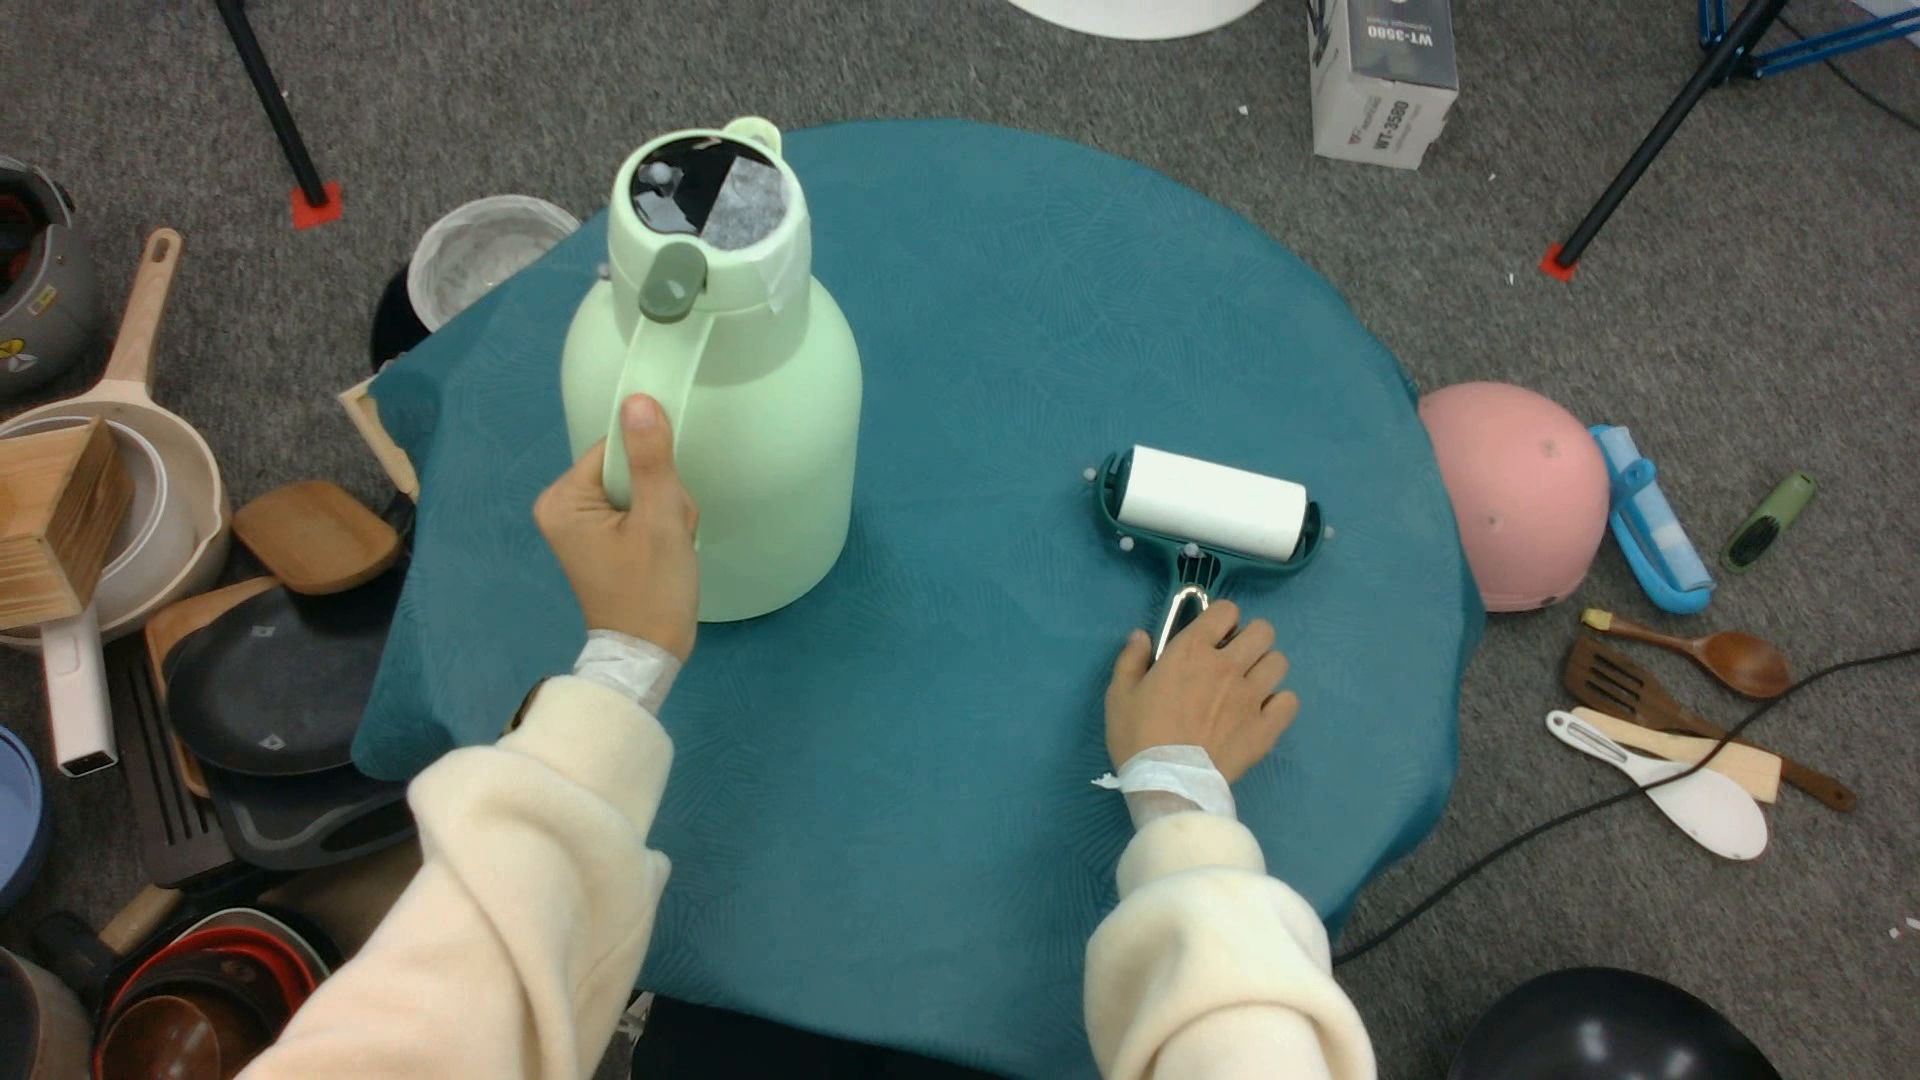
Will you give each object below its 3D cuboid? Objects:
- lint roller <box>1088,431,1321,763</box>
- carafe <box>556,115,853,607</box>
[{"bbox_3d":[0.124,0.031,0.755,0.134,0.048,0.181,14,61,1],"label":"lint roller"},{"bbox_3d":[-0.125,-0.069,0.658,0.144,0.255,0.187,16,62,-2],"label":"carafe"}]
